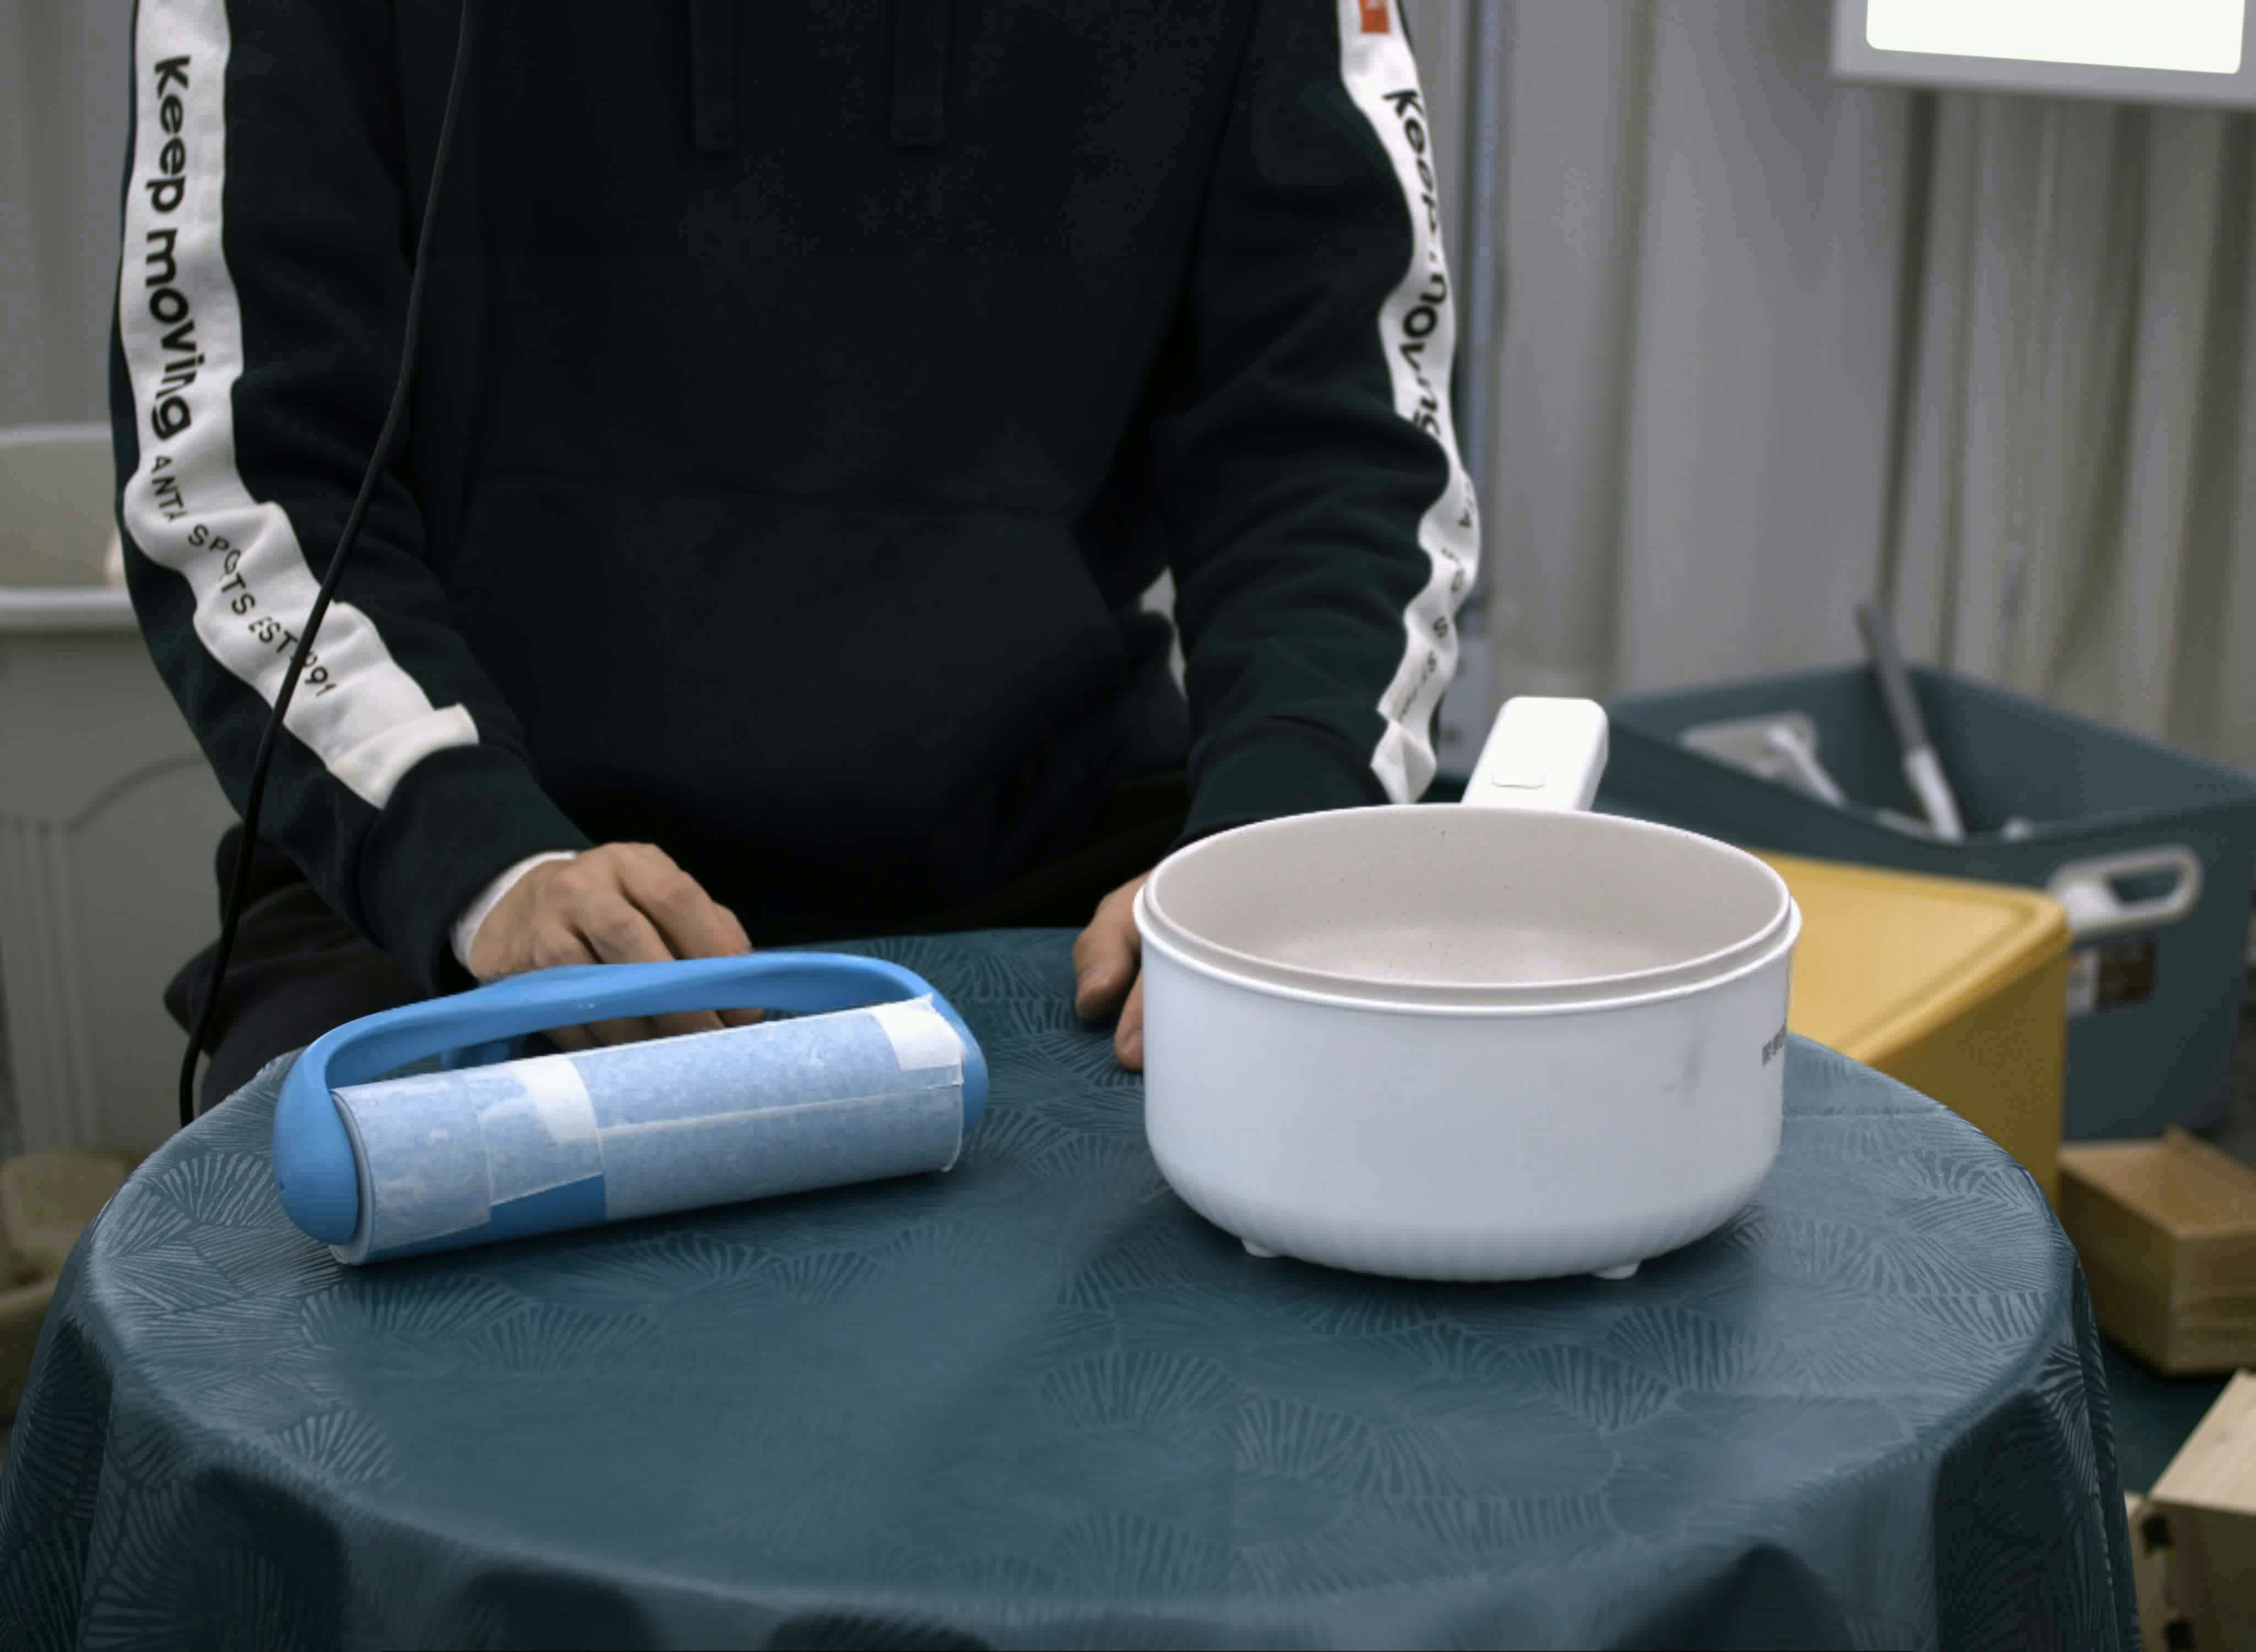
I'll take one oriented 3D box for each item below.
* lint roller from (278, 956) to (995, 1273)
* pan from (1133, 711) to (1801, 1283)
[{"bbox_3d":[-0.174,0.077,1.635,0.230,0.068,0.178,-10,20,-29],"label":"lint roller"},{"bbox_3d":[0.116,0.049,1.668,0.200,0.103,0.354,2,15,10],"label":"pan"}]
